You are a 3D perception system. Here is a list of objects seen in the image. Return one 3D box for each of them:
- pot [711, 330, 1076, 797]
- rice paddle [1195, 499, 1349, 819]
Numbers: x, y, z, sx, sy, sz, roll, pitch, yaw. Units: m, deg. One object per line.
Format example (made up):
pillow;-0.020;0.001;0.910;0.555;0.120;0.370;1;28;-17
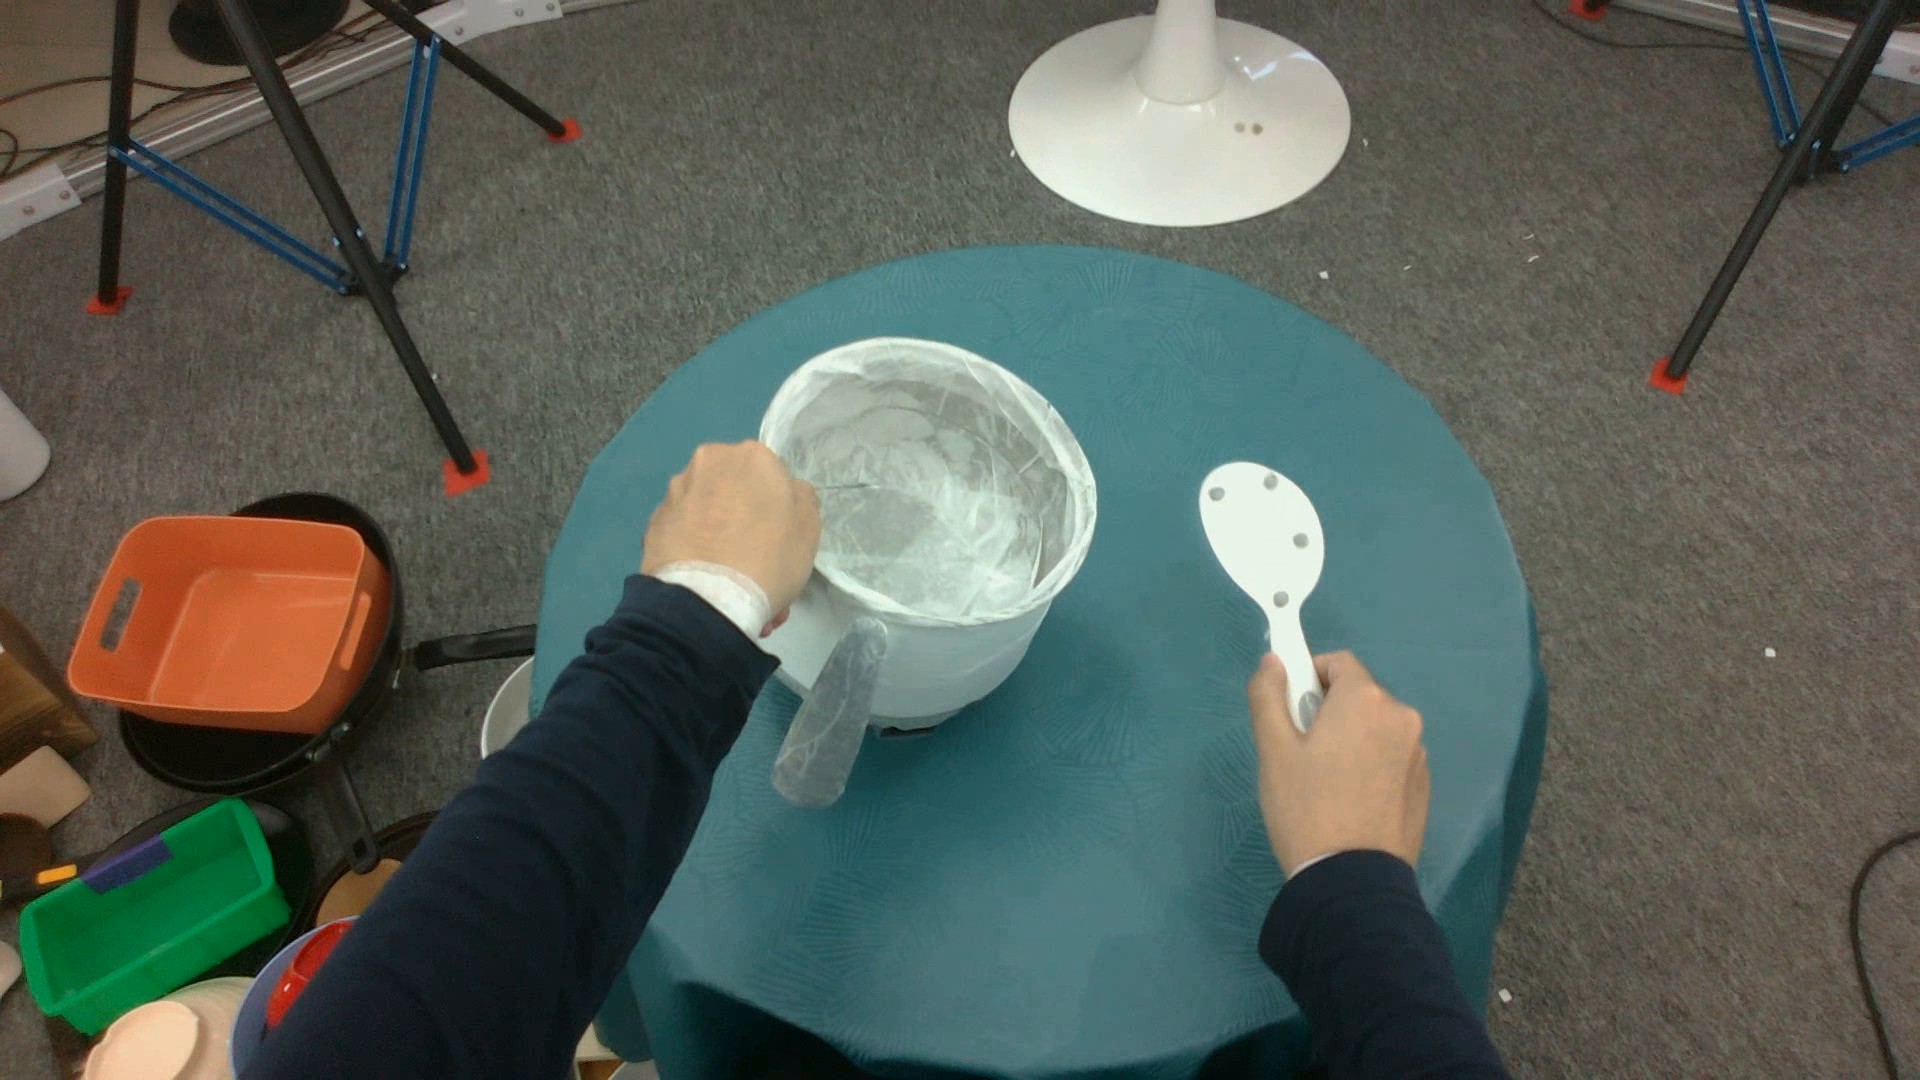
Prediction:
pot;-0.048;0.017;0.729;0.179;0.136;0.235;20;52;-3
rice paddle;0.168;0.051;0.730;0.069;0.029;0.206;3;48;-6
